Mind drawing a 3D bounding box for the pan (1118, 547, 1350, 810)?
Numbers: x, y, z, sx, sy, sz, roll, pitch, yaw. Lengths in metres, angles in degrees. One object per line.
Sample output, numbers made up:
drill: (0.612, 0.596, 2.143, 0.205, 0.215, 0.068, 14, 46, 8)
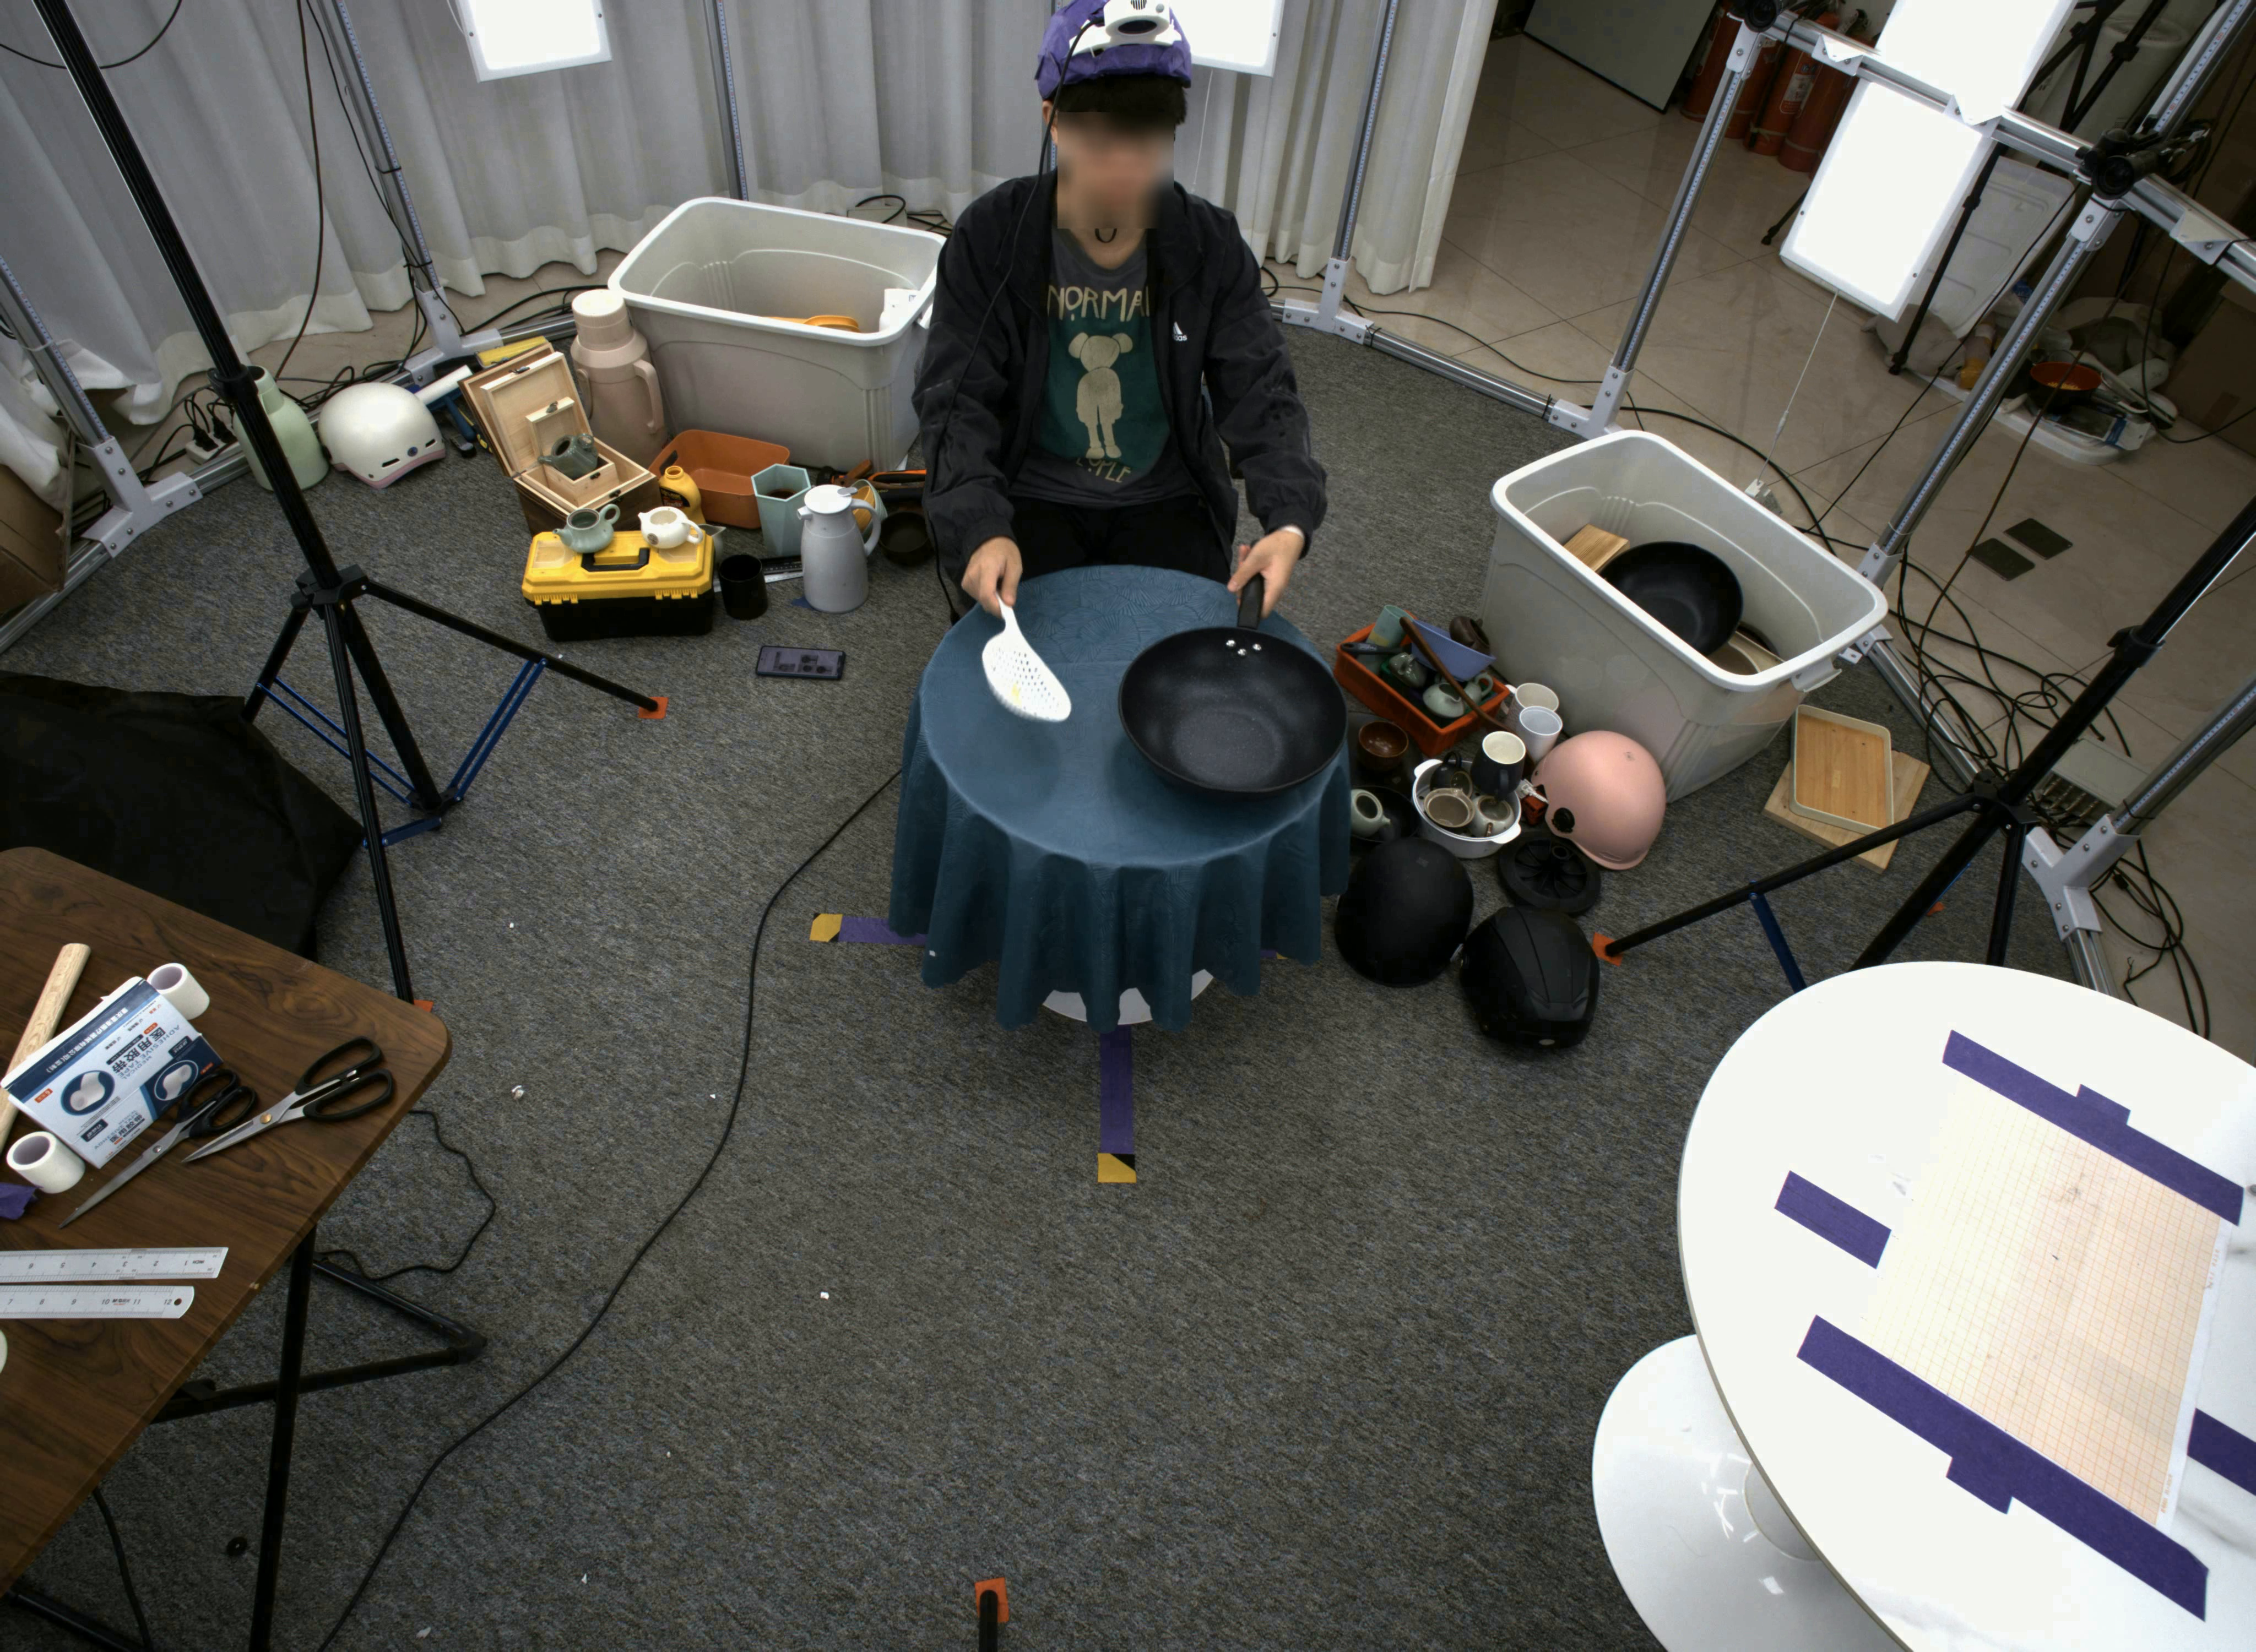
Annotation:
pan: (0.154, -0.199, 1.780, 0.310, 0.109, 0.488, 10, 49, 4)

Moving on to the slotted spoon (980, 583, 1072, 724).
slotted spoon: (-0.163, -0.248, 1.772, 0.135, 0.049, 0.357, 20, 35, -29)
